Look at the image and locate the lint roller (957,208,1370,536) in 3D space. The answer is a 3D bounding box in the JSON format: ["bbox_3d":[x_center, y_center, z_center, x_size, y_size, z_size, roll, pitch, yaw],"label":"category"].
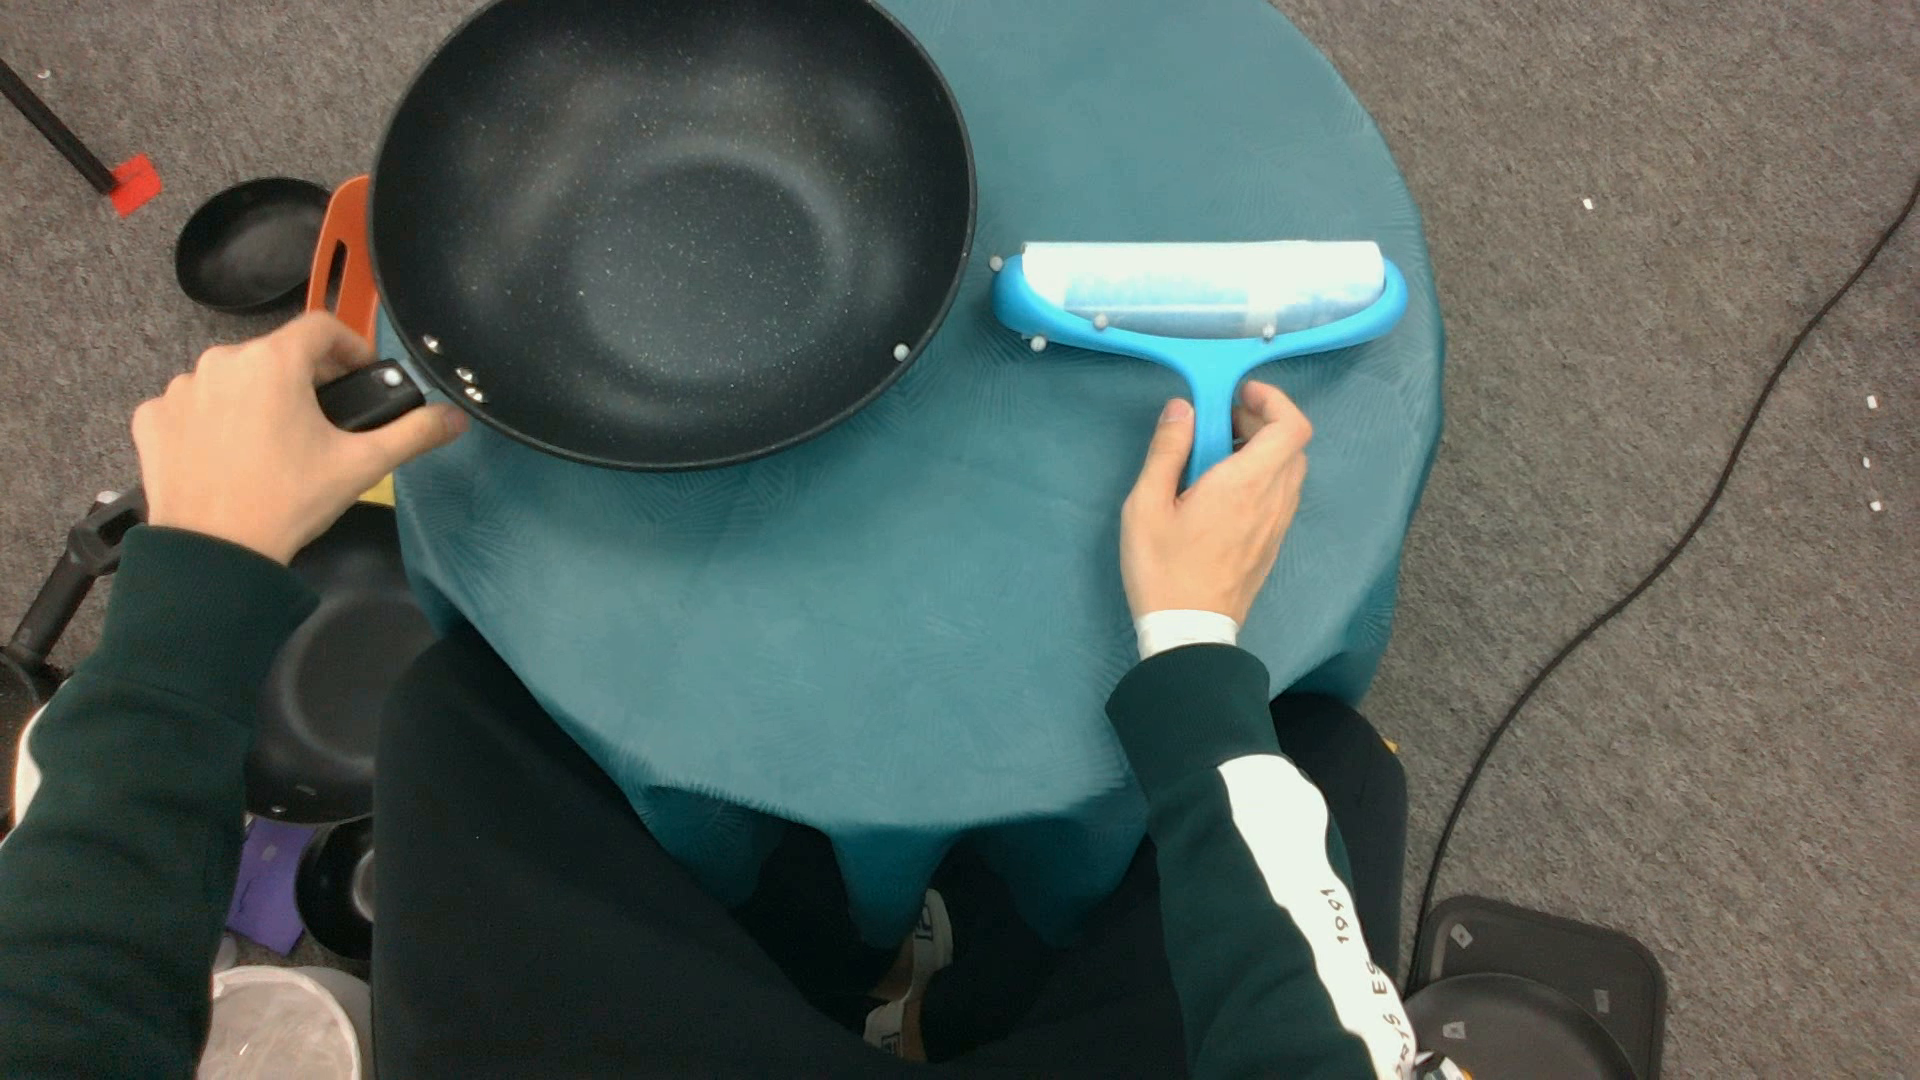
[{"bbox_3d":[0.119,-0.097,0.745,0.229,0.067,0.180,-4,72,-6],"label":"lint roller"}]

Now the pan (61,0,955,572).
[{"bbox_3d":[-0.219,-0.127,0.713,0.478,0.111,0.310,-41,76,-14],"label":"pan"}]
